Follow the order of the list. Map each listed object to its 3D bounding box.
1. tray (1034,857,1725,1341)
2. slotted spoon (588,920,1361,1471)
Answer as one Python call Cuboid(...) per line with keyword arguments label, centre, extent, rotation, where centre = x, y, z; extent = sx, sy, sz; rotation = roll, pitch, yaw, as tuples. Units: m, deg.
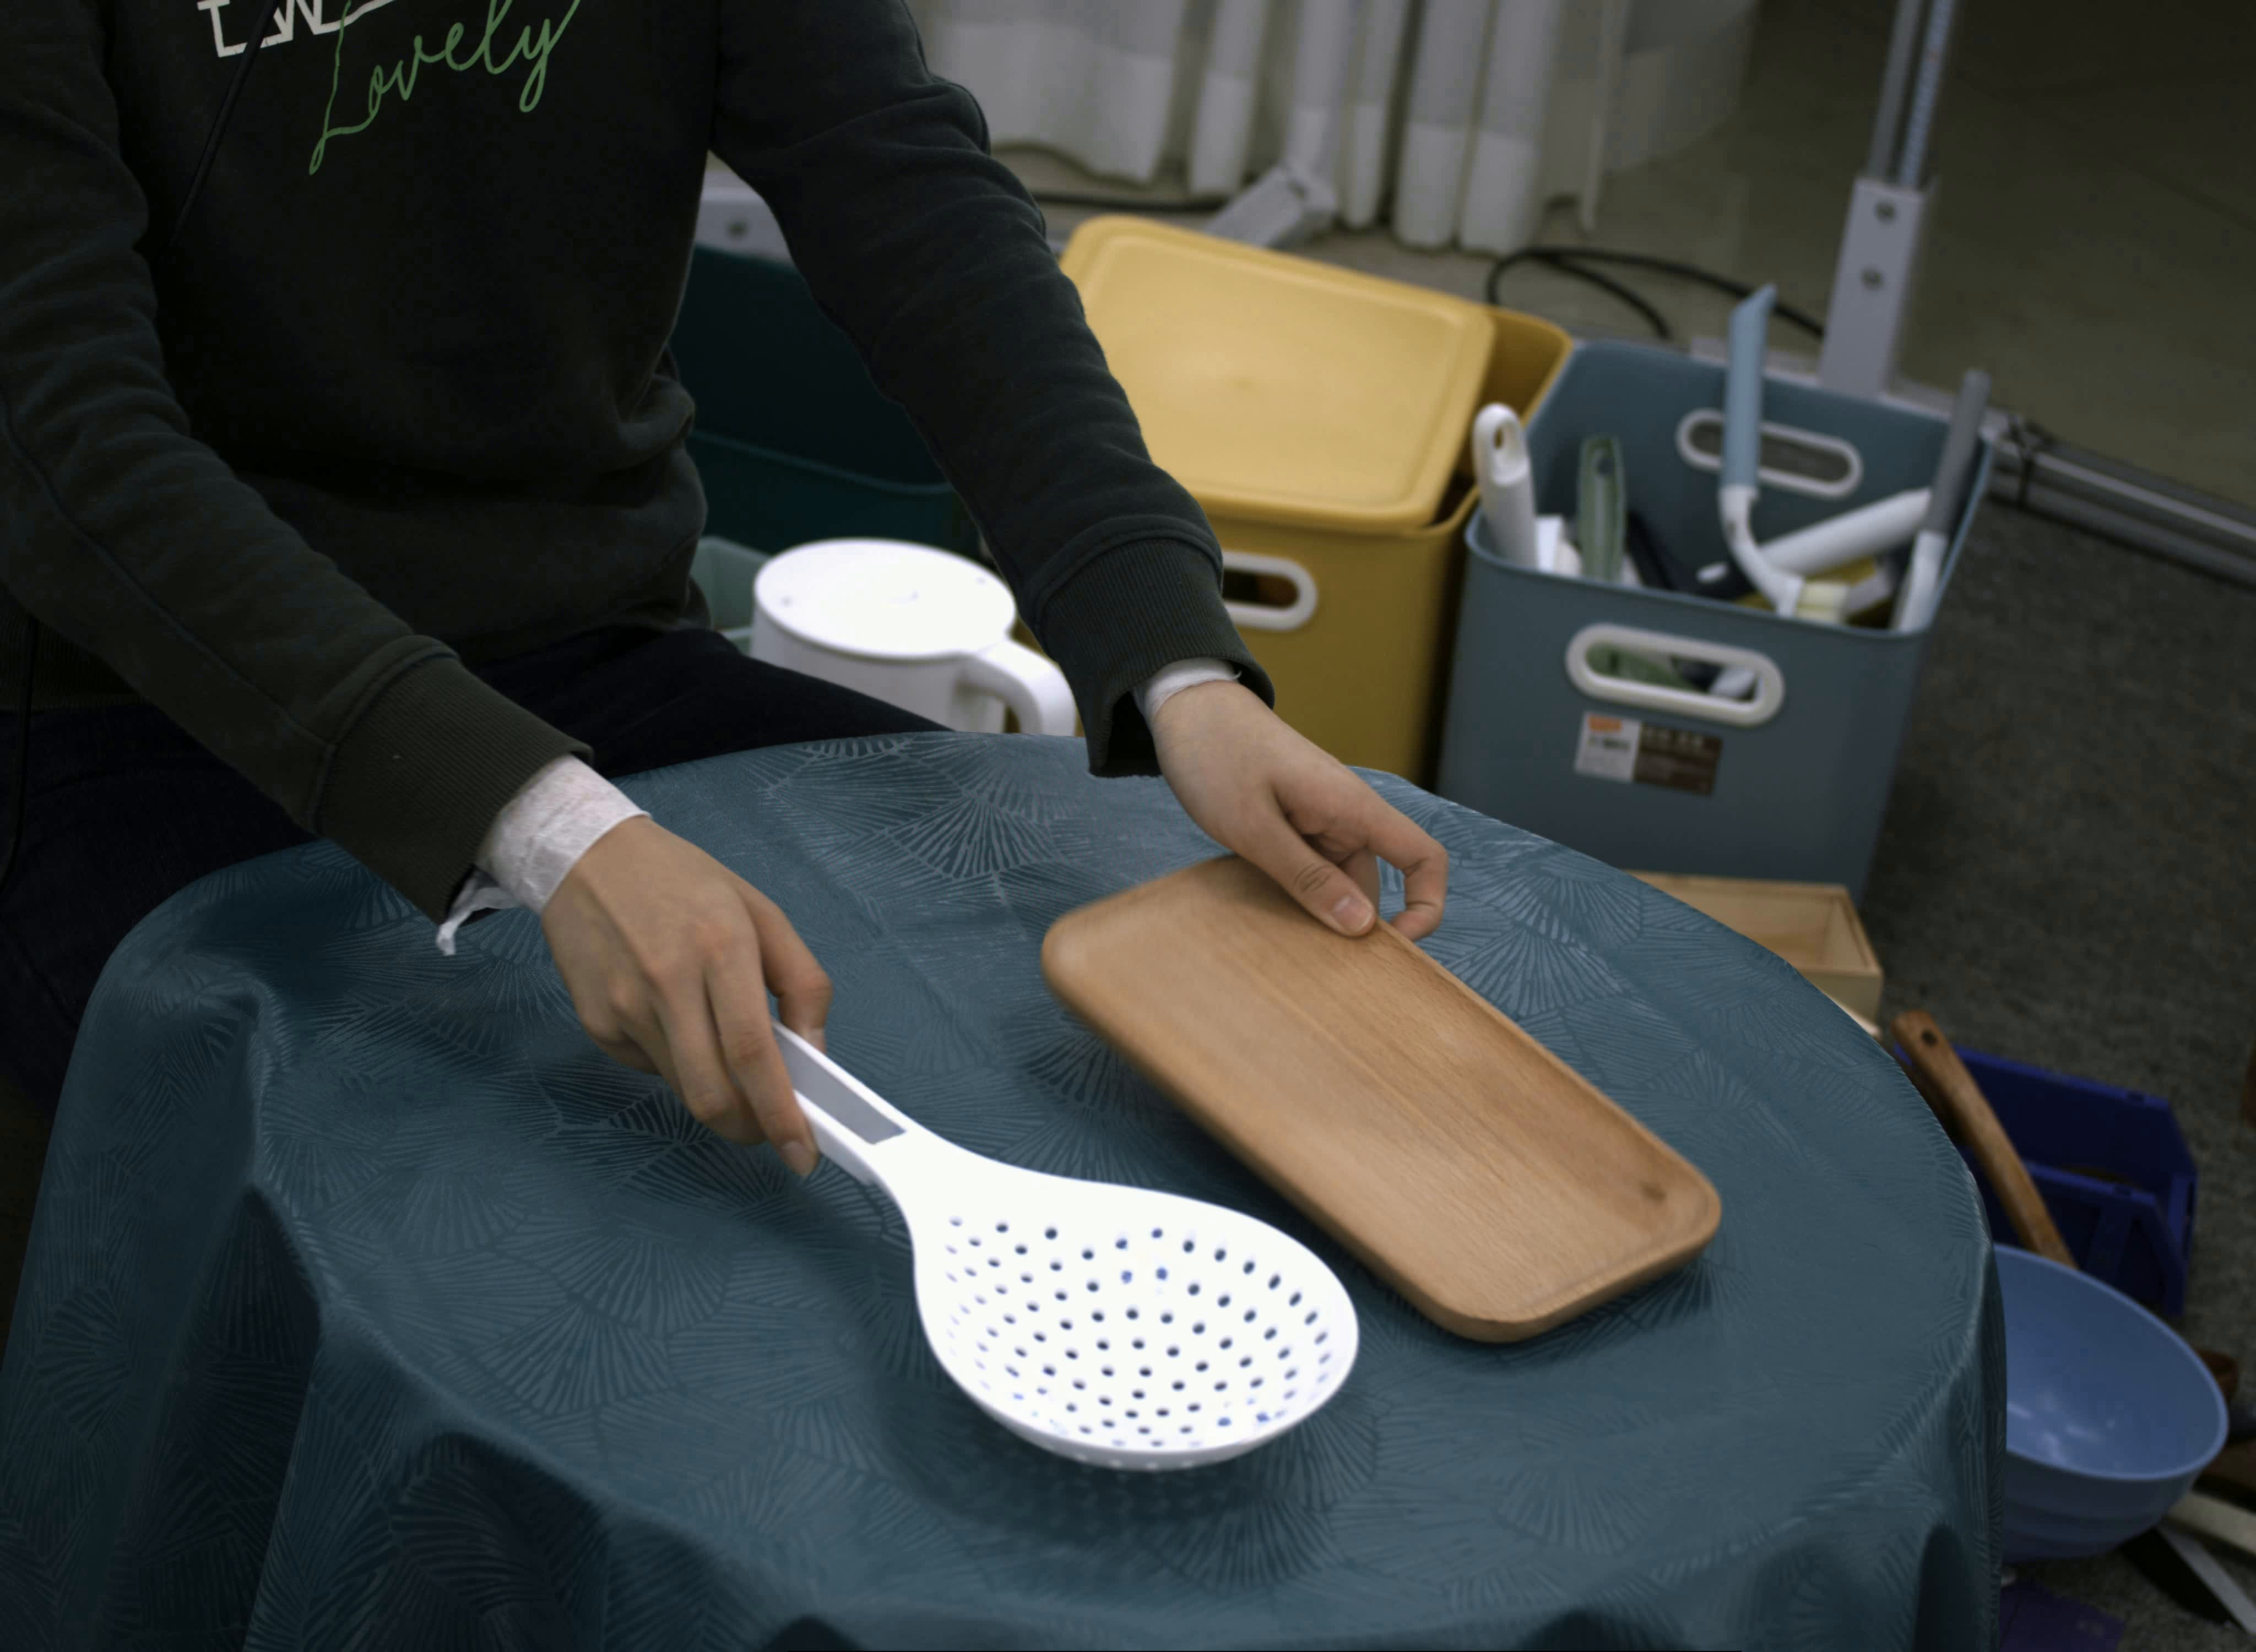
Cuboid(label="tray", centre=(0.083, 0.091, 1.830), extent=(0.130, 0.023, 0.253), rotation=(-22, 41, -33))
Cuboid(label="slotted spoon", centre=(-0.066, 0.114, 1.727), extent=(0.135, 0.045, 0.353), rotation=(-18, 41, -37))
